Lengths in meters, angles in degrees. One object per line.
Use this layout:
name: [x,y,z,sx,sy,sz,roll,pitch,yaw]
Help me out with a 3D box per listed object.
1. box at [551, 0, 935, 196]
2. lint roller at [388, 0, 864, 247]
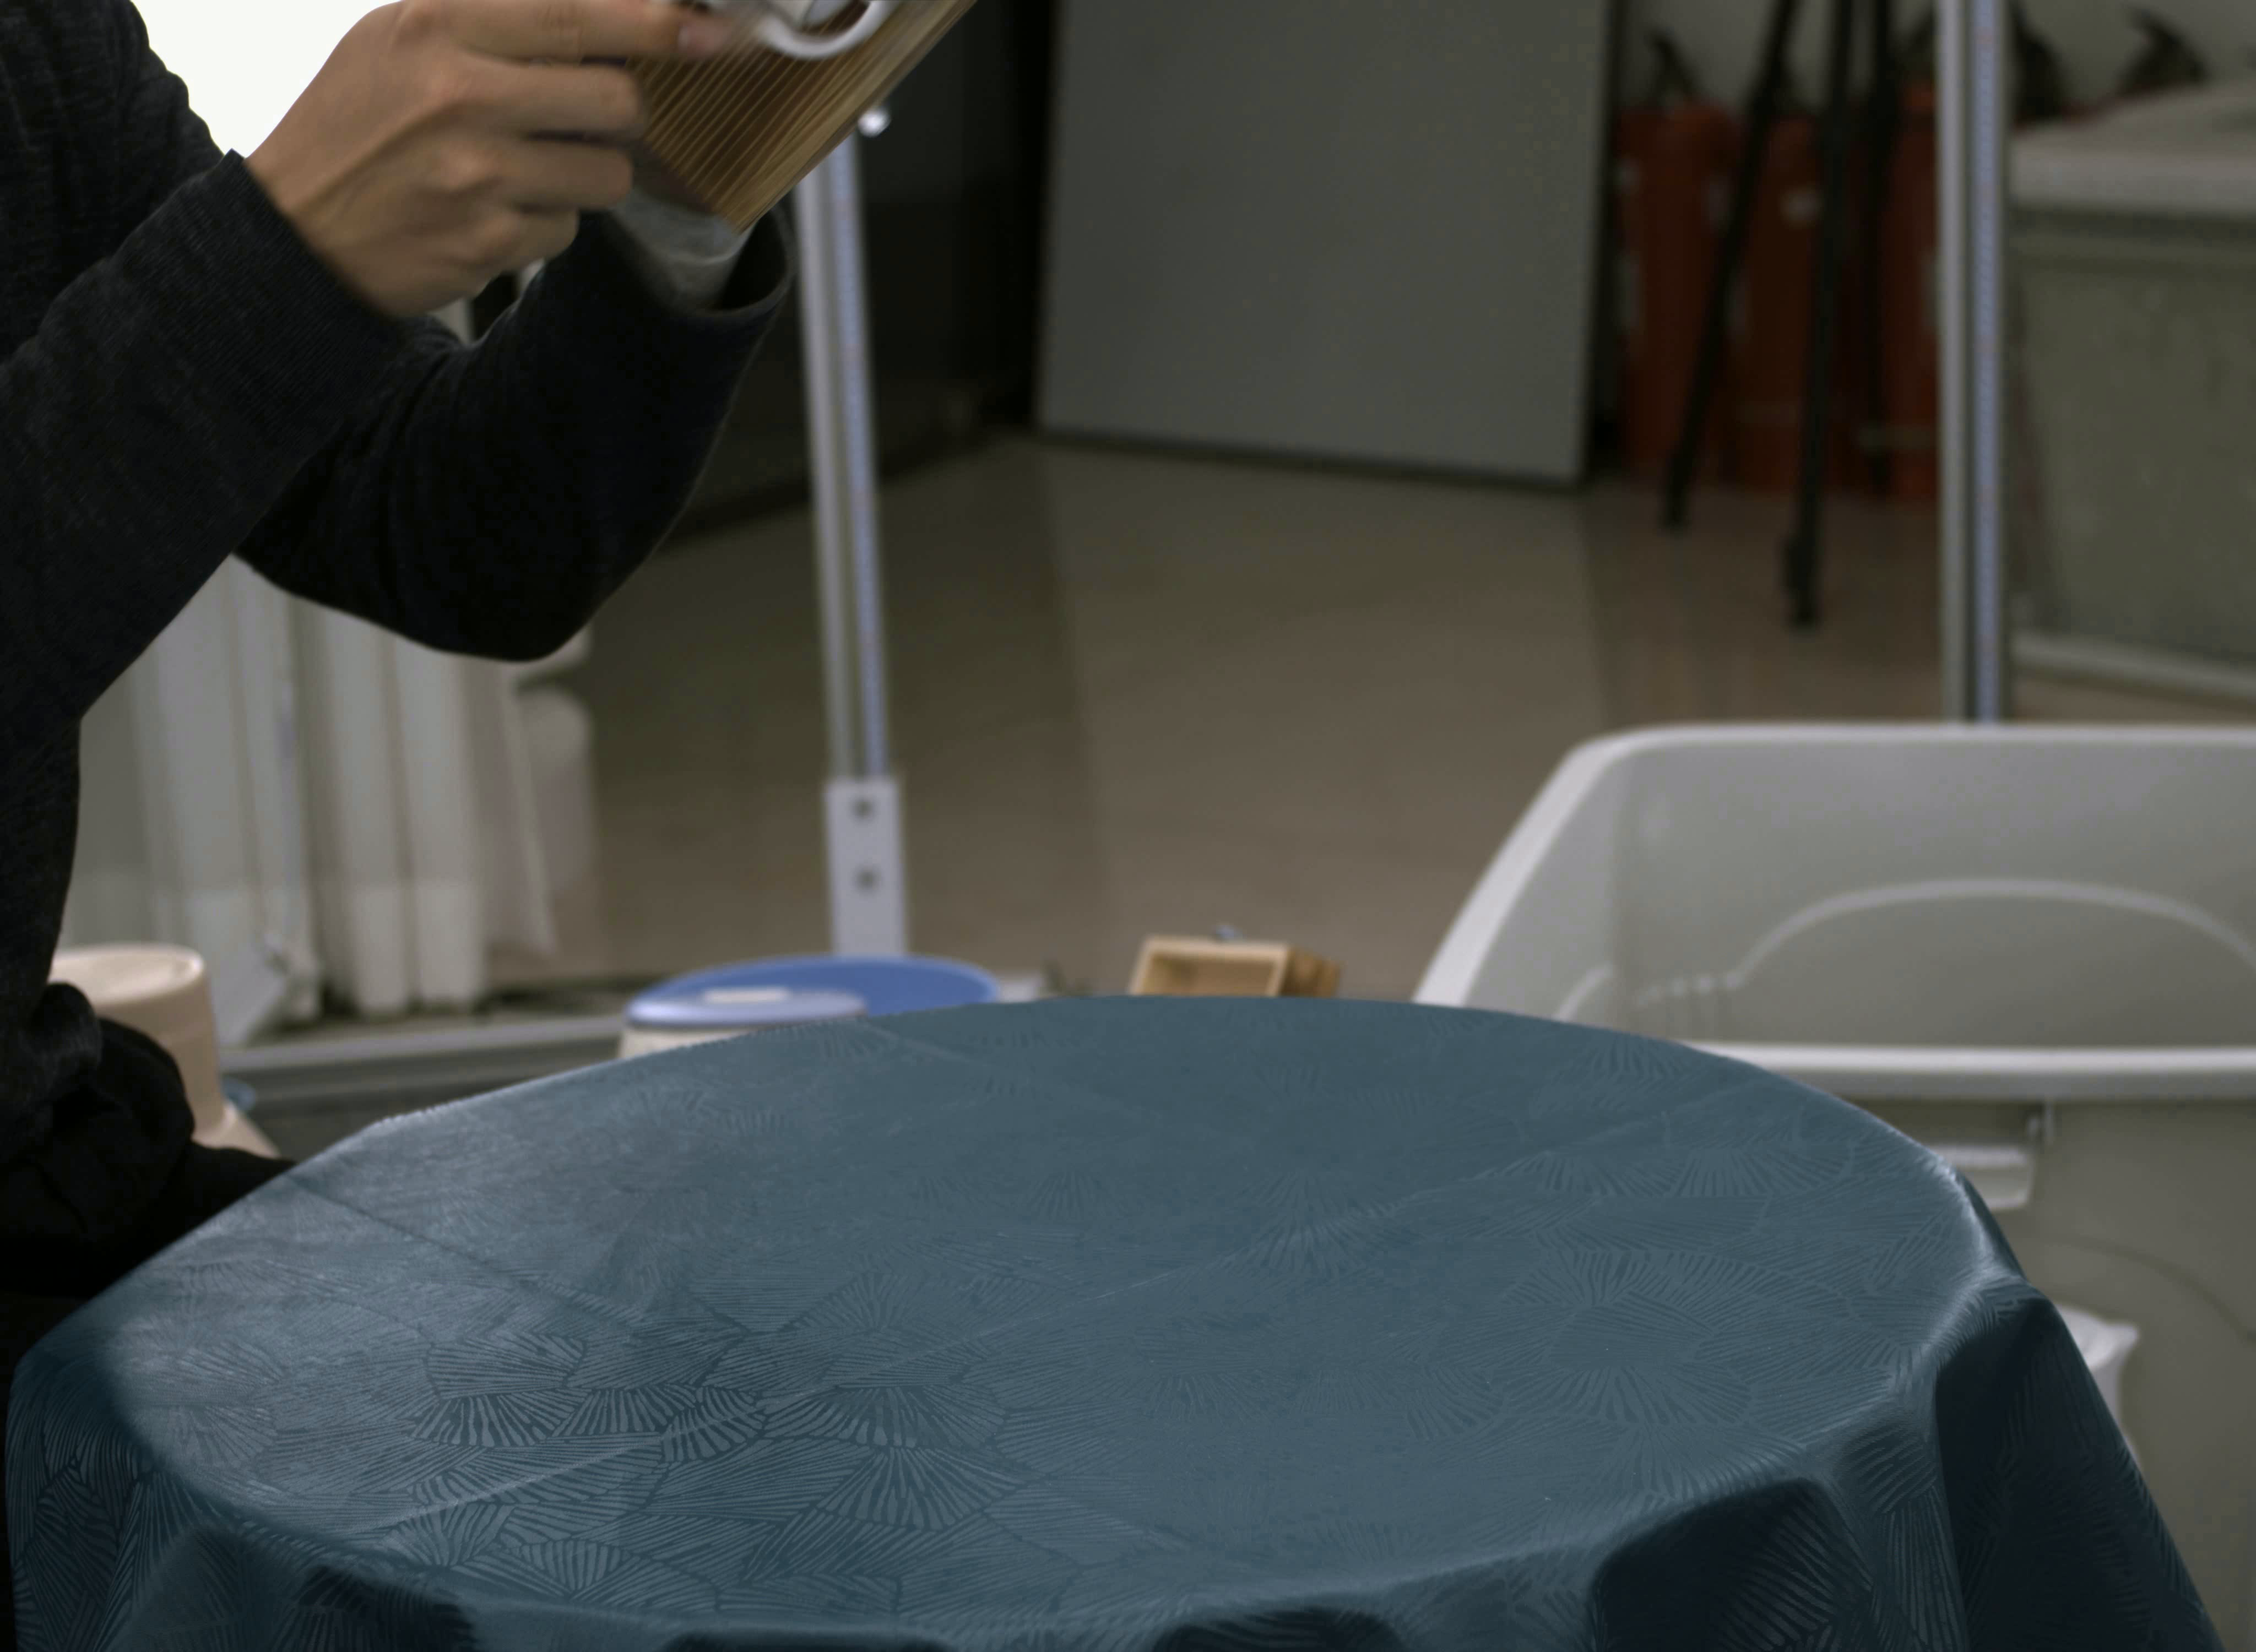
box: [-0.076,-0.297,1.568,0.213,0.107,0.079,-42,5,40]
lint roller: [-0.161,-0.235,1.543,0.132,0.182,0.050,42,18,-1]
